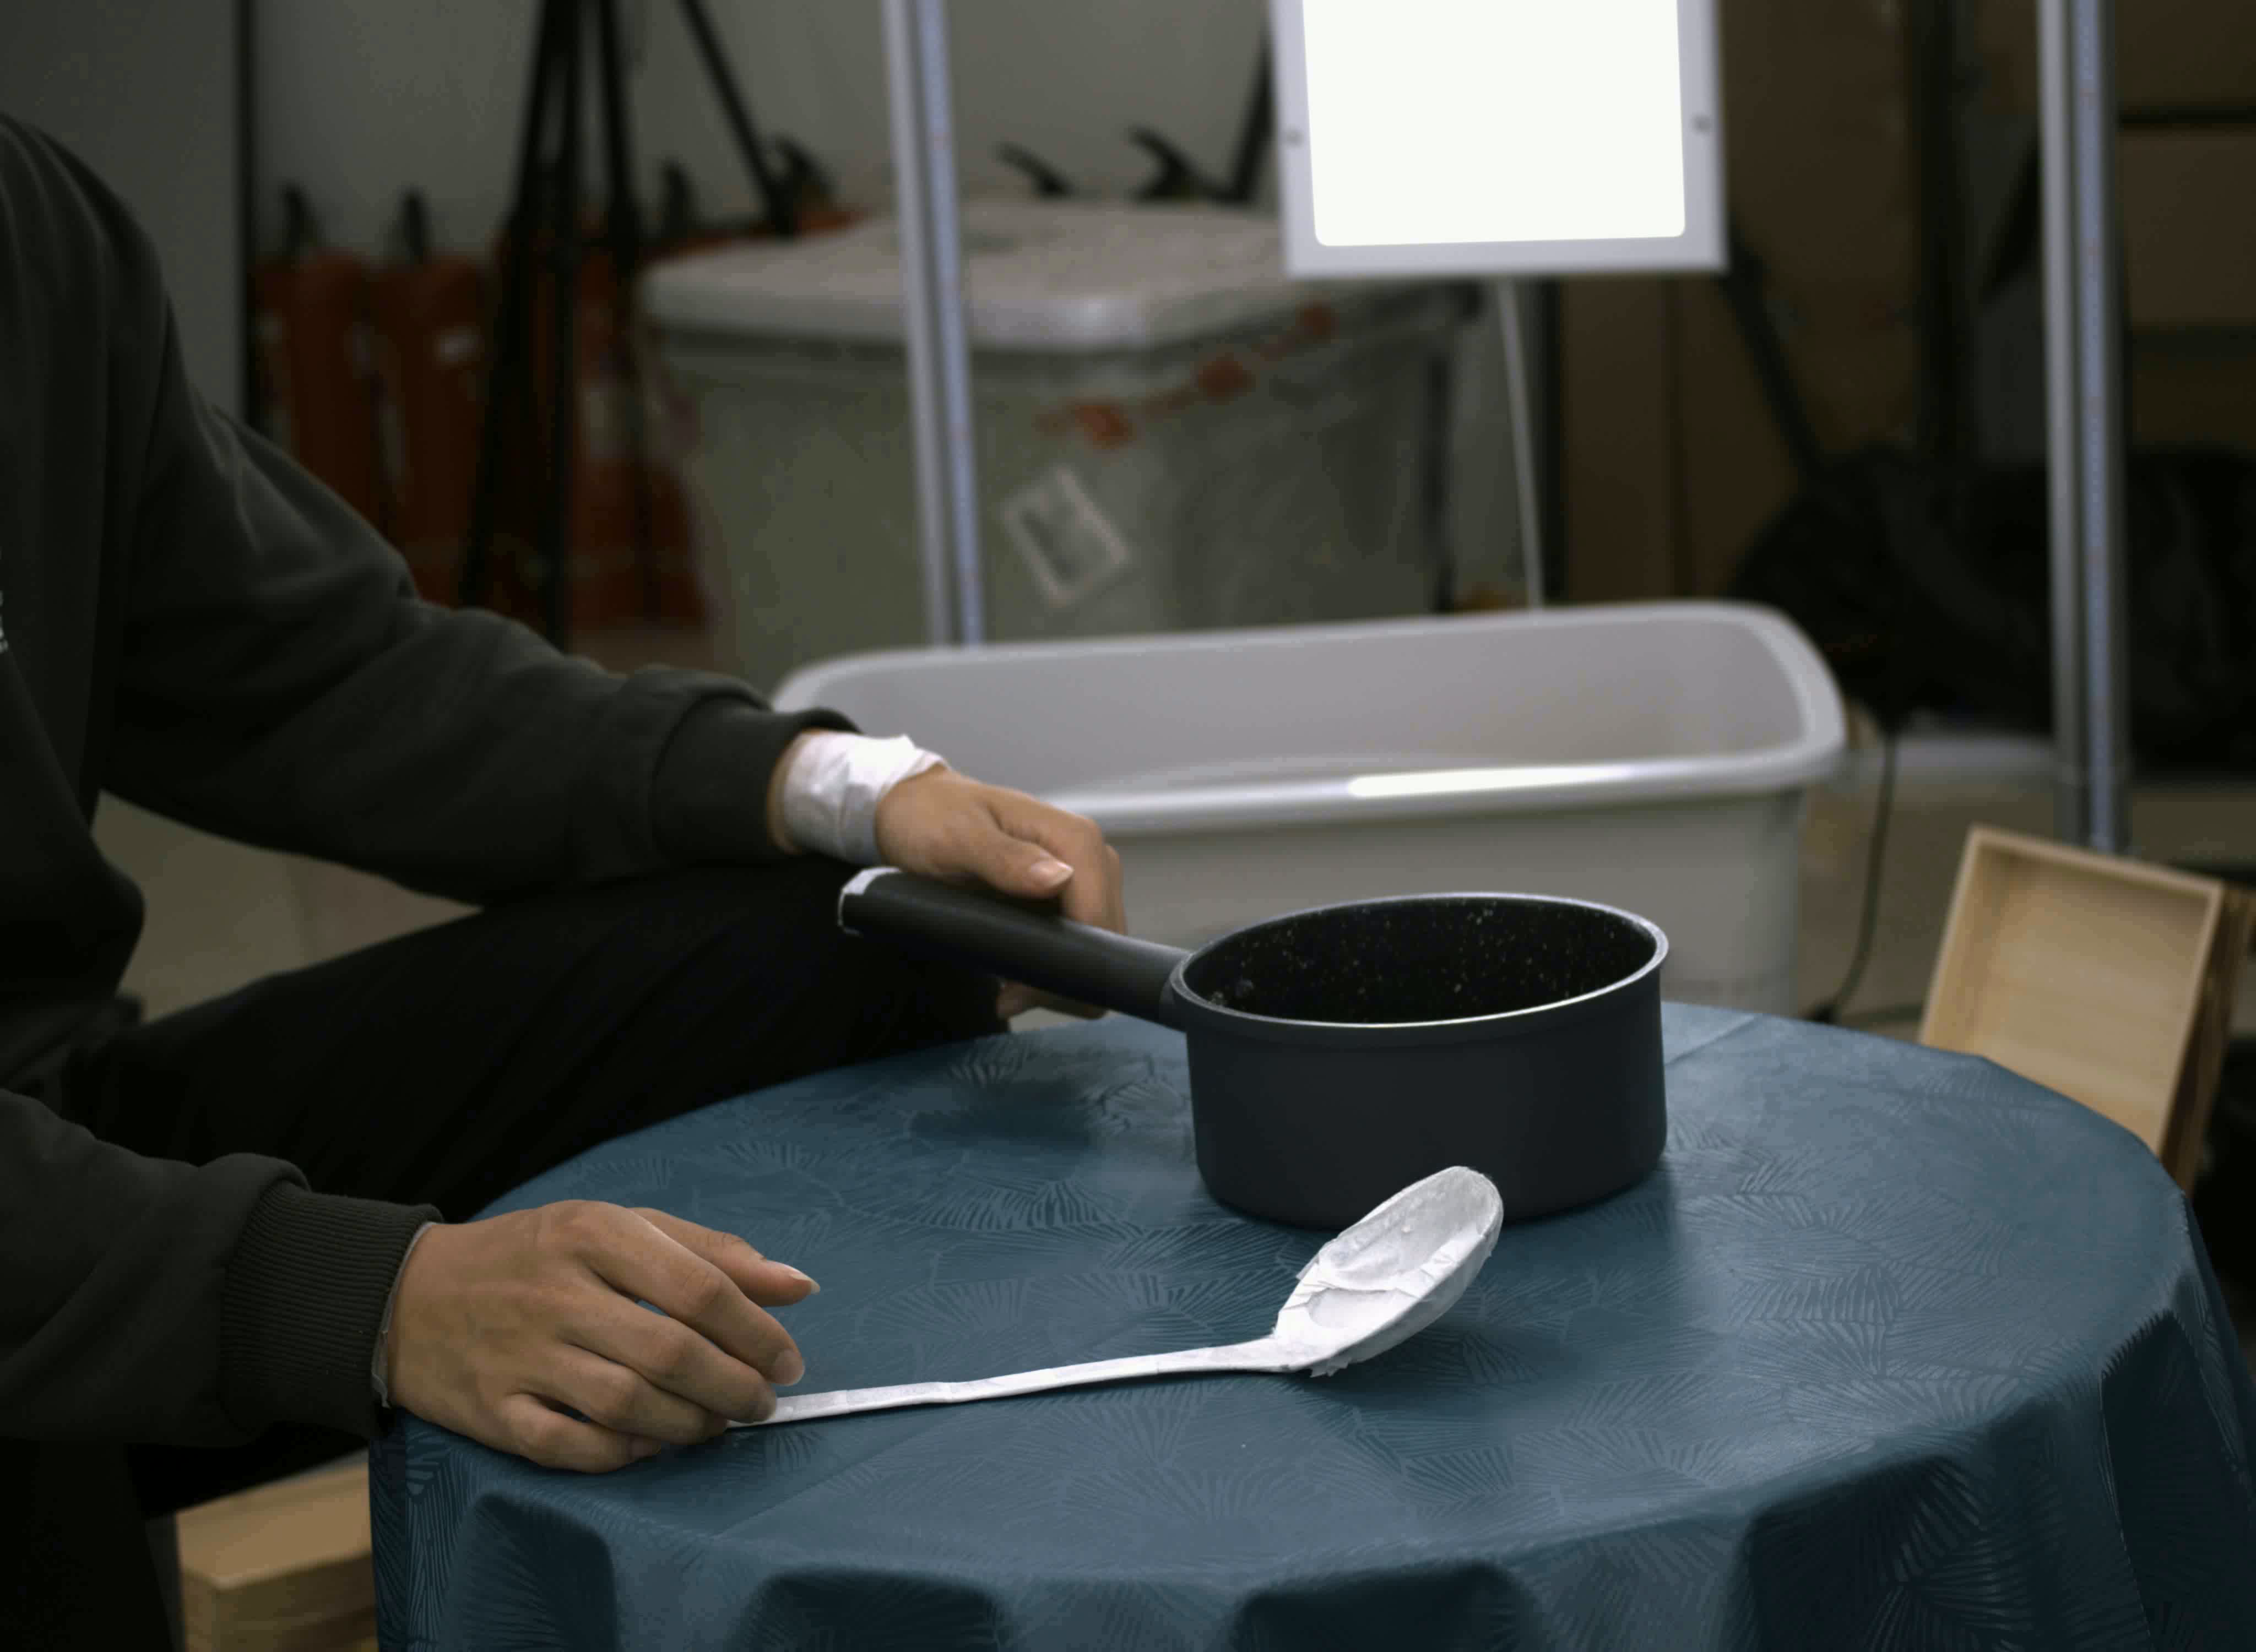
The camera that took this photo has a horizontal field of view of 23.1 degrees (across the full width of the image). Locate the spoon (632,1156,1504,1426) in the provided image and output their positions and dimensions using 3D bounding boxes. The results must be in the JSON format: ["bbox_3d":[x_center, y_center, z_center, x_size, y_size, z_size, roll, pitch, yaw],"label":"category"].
[{"bbox_3d":[-0.019,0.144,1.716,0.277,0.059,0.100,-5,12,1],"label":"spoon"}]

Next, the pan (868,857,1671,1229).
[{"bbox_3d":[0.041,0.071,1.942,0.336,0.087,0.167,7,17,39],"label":"pan"}]
